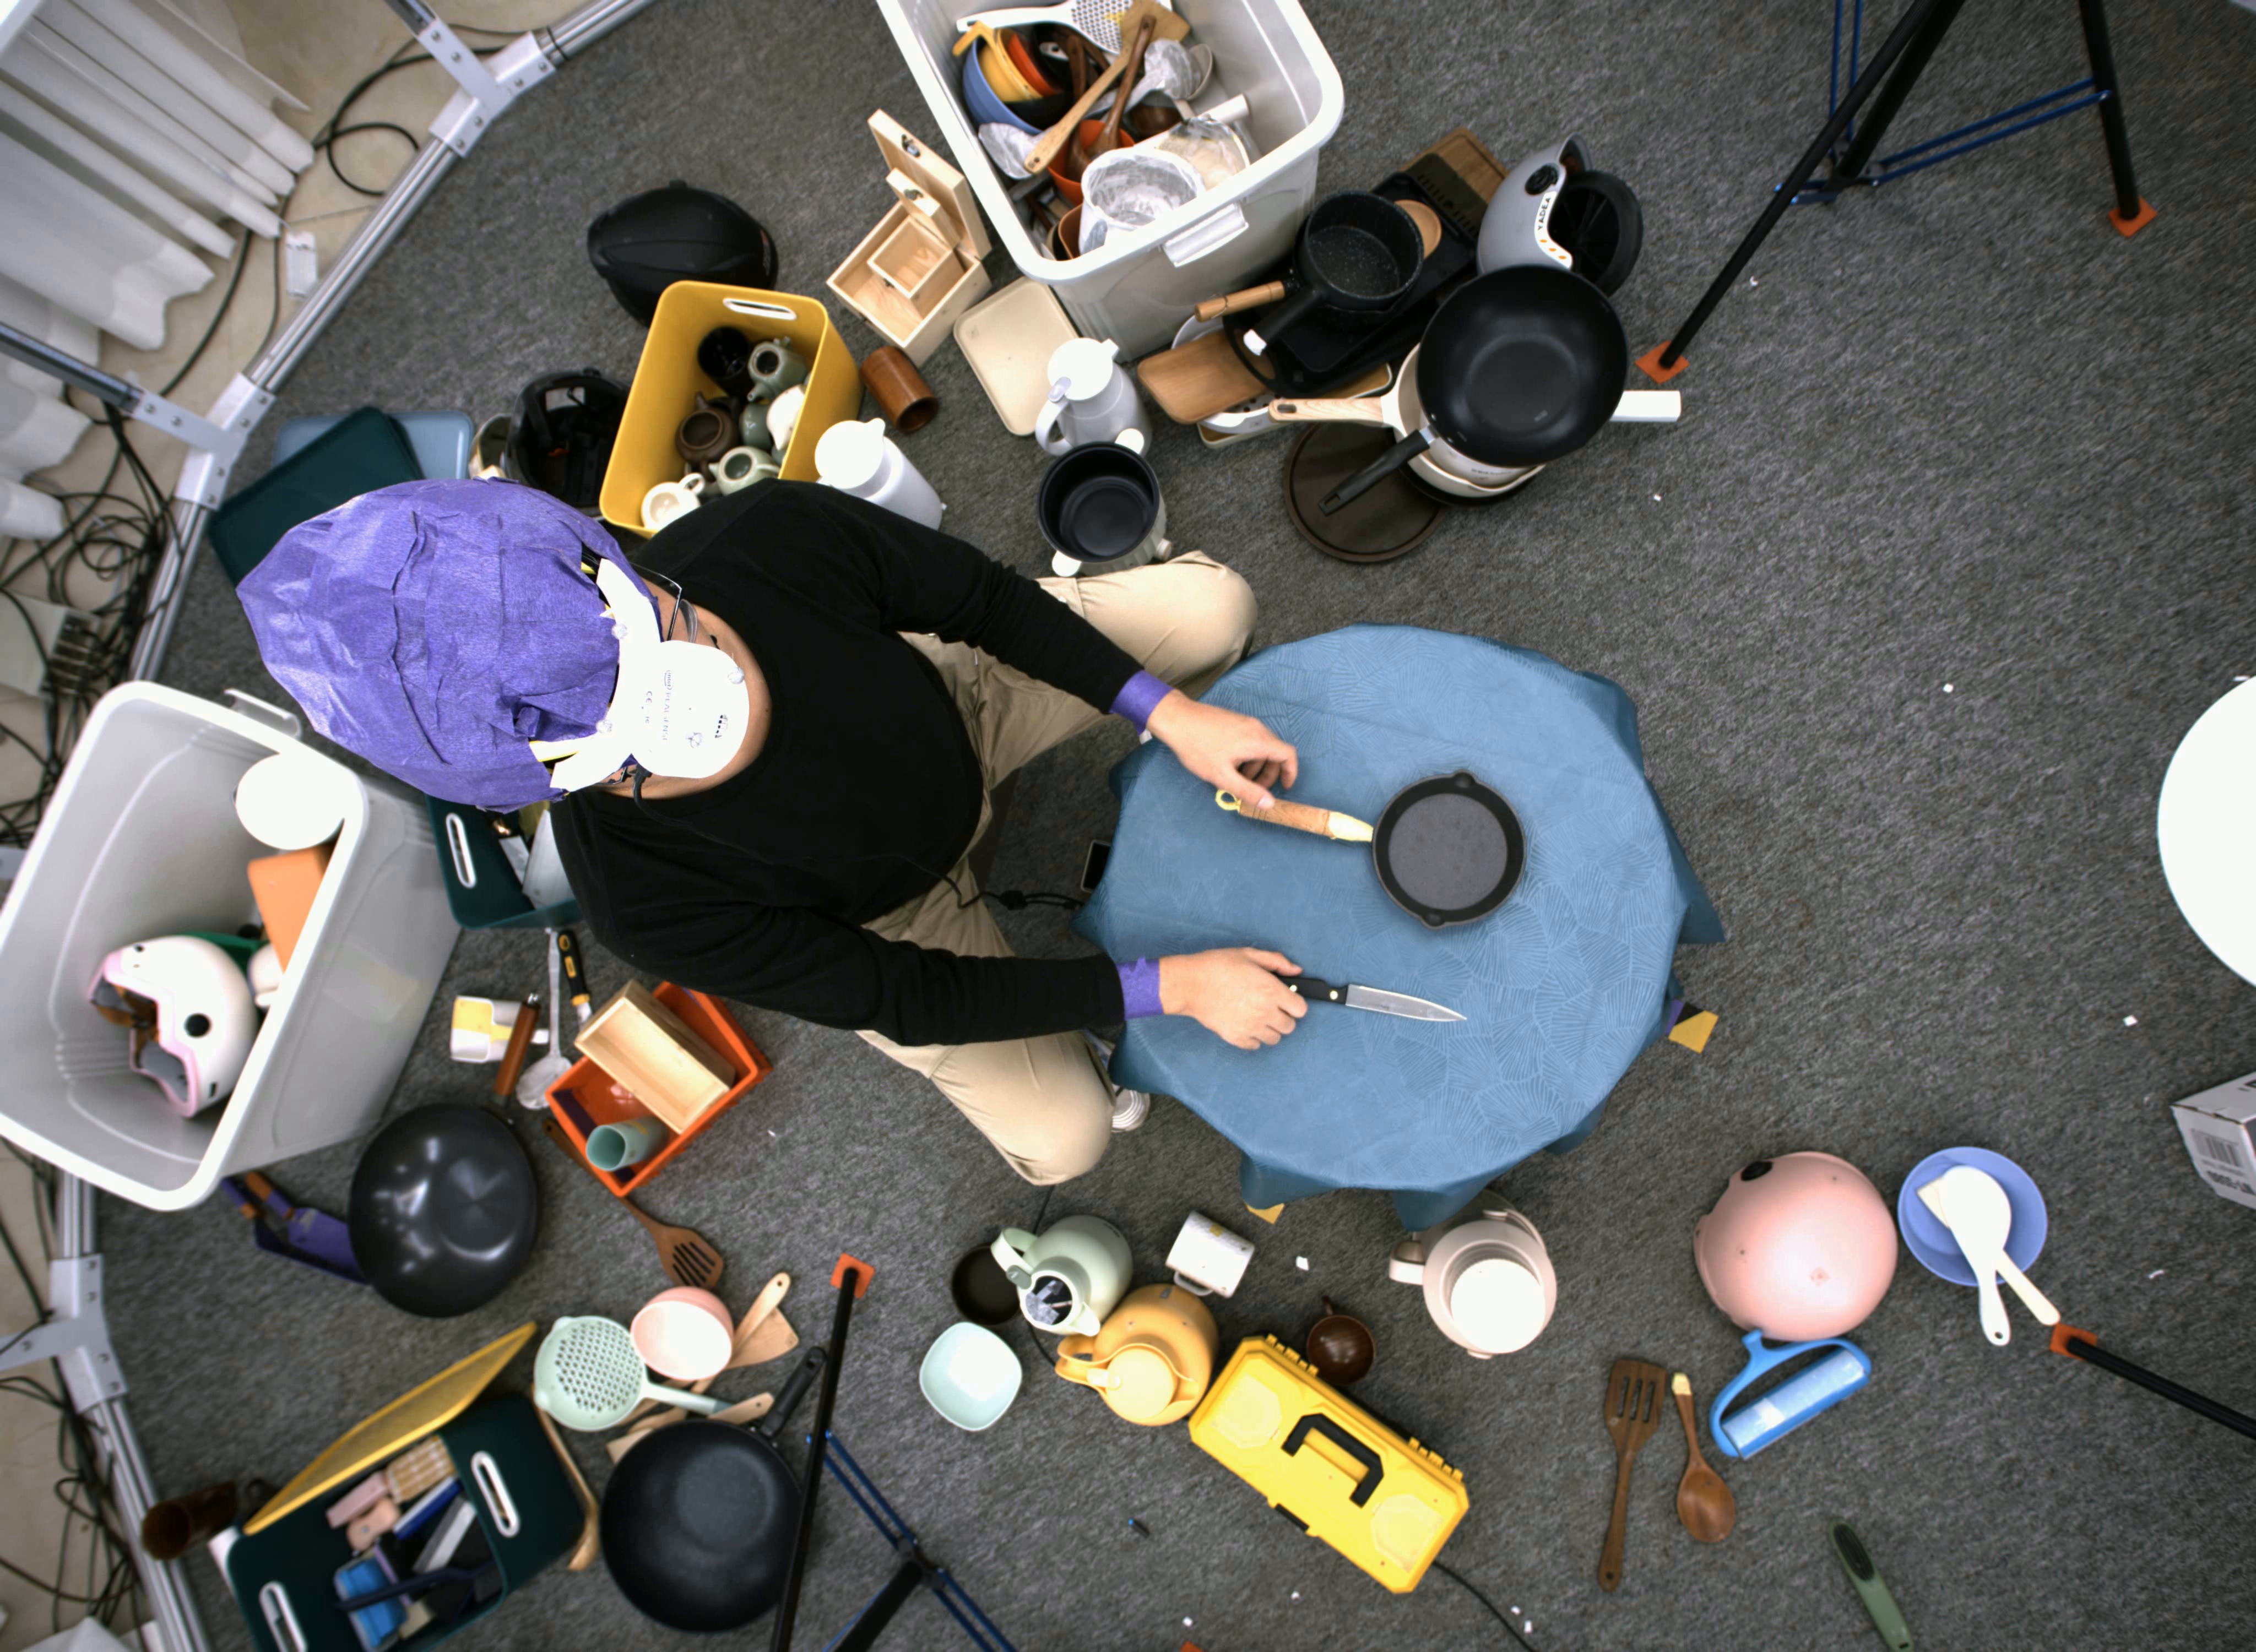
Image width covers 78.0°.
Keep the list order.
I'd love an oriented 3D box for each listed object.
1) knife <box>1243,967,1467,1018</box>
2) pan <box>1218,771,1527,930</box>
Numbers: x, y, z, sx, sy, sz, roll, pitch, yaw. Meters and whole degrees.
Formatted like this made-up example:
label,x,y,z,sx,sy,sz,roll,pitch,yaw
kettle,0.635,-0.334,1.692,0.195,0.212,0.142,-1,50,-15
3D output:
label,x,y,z,sx,sy,sz,roll,pitch,yaw
knife,0.237,0.178,1.457,0.238,0.016,0.024,10,87,8
pan,0.253,0.004,1.445,0.324,0.049,0.168,15,90,12
